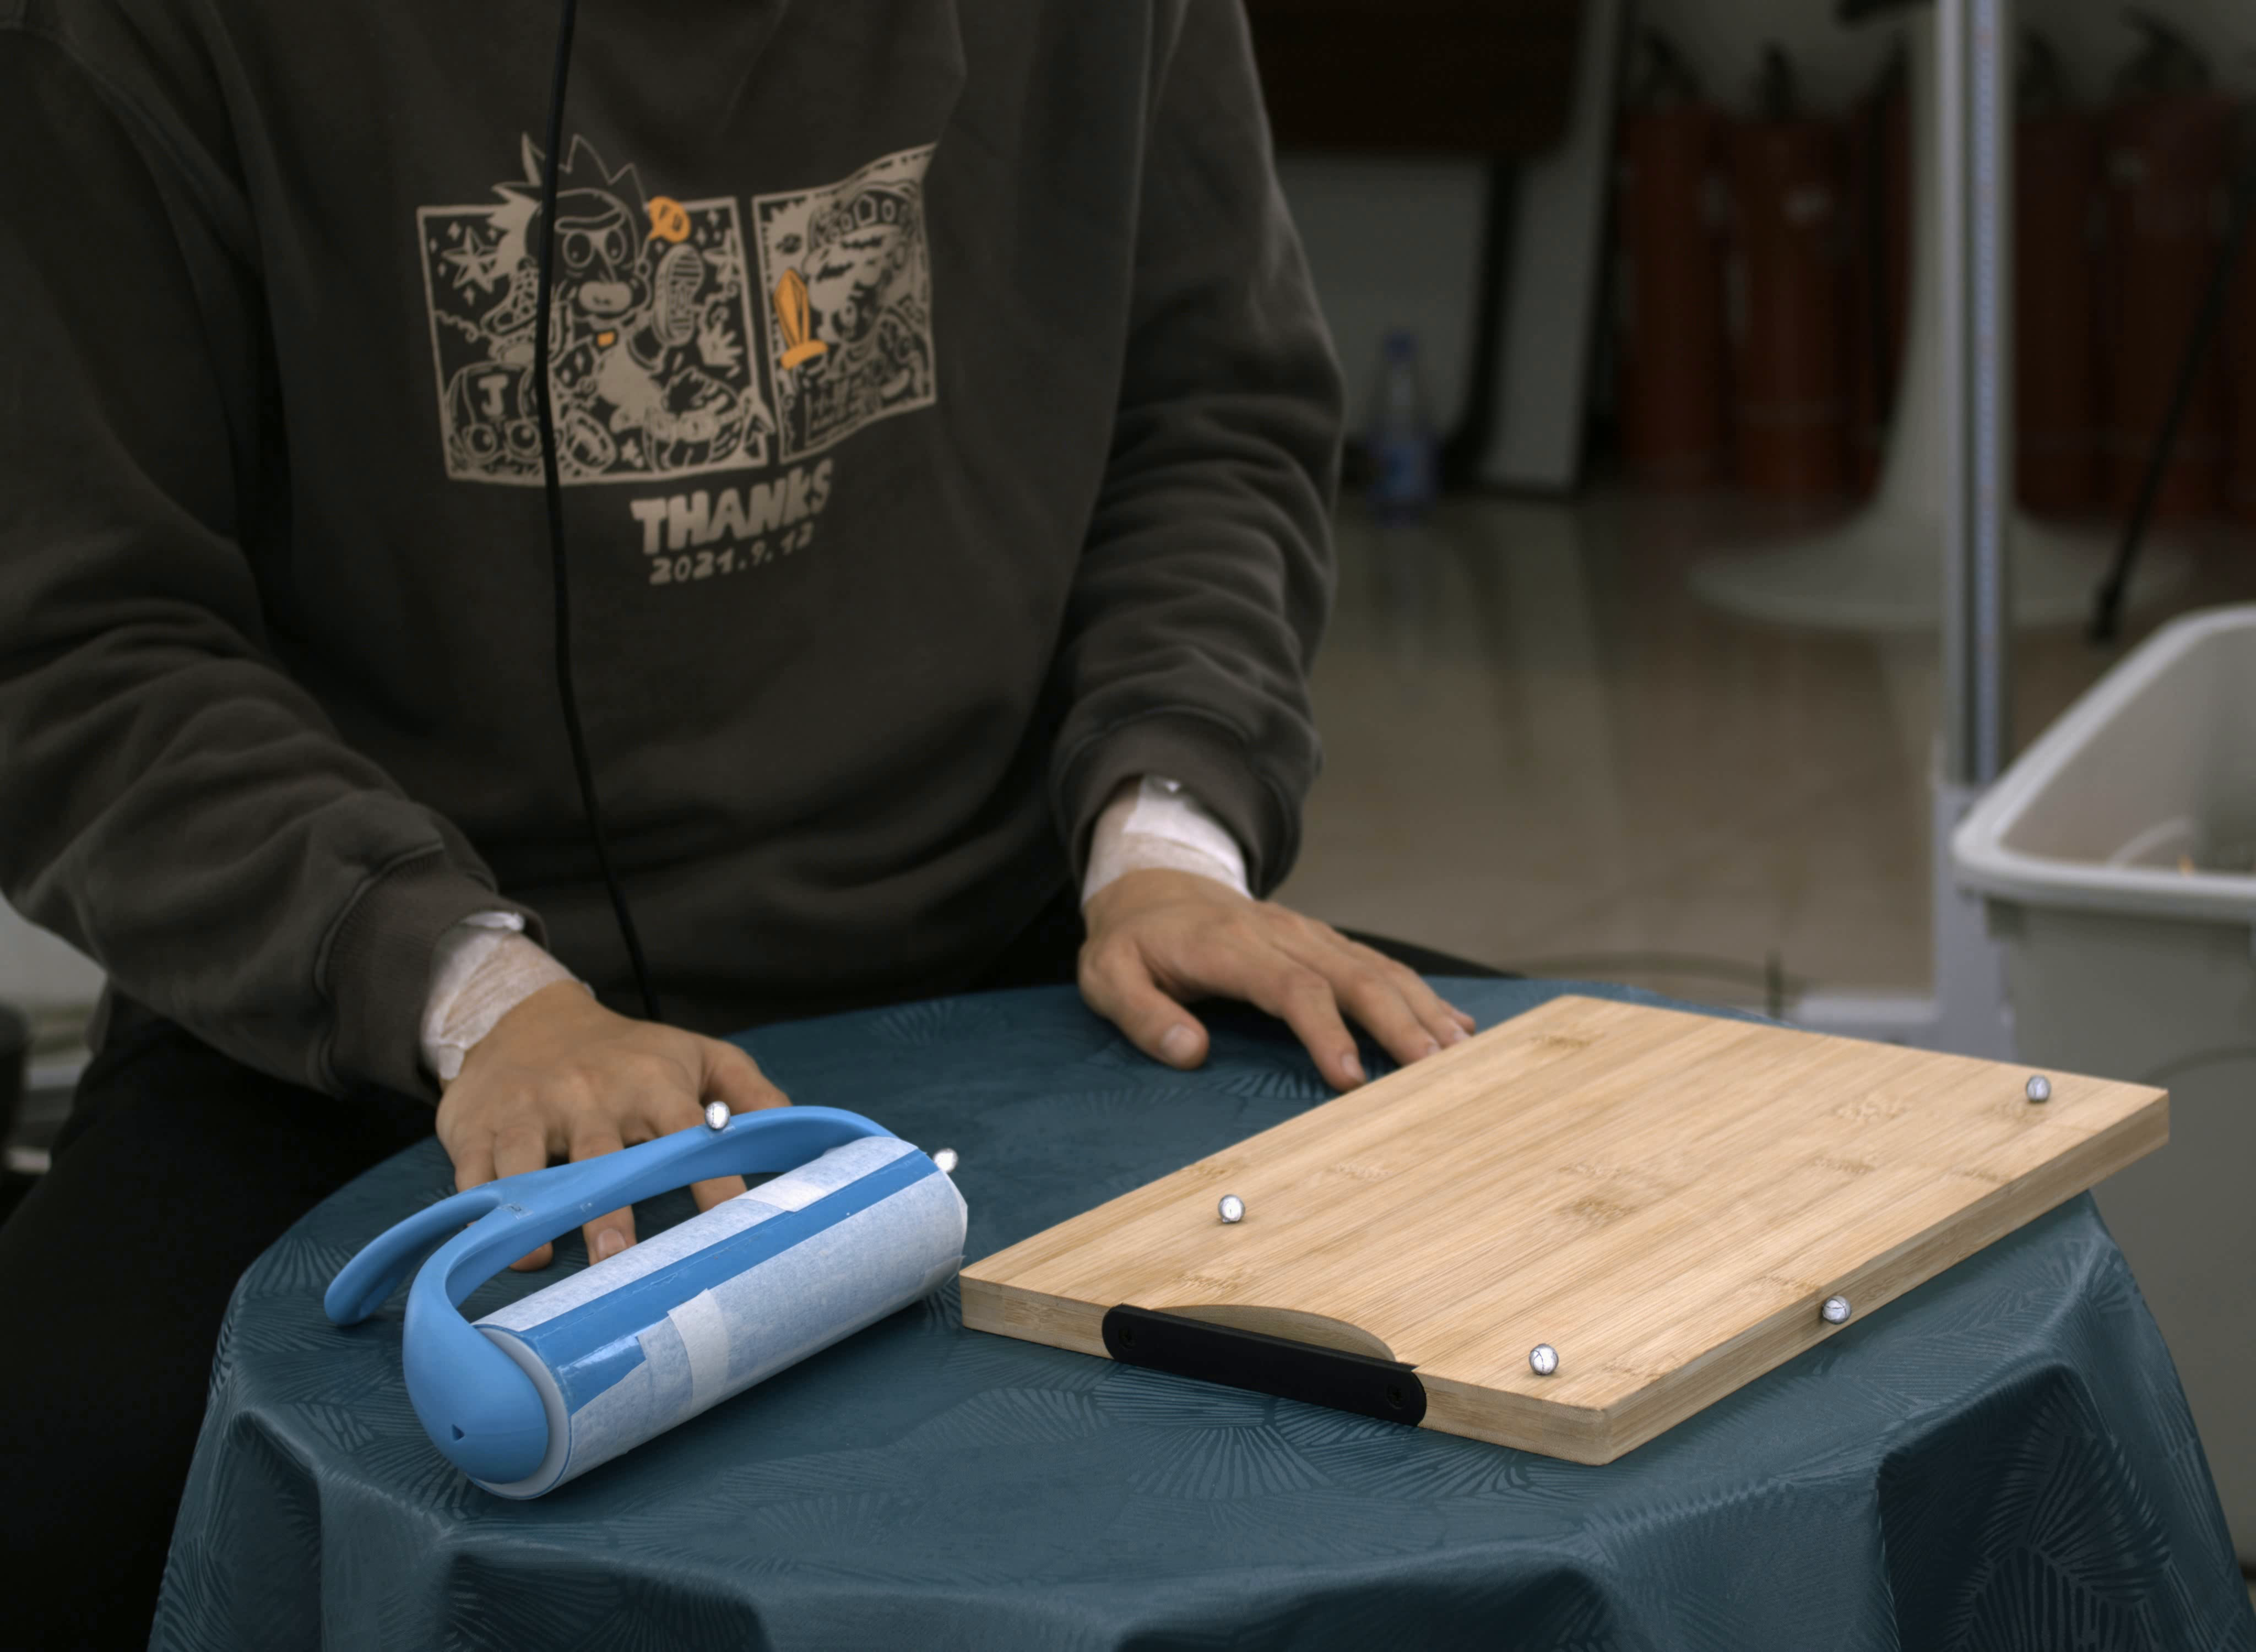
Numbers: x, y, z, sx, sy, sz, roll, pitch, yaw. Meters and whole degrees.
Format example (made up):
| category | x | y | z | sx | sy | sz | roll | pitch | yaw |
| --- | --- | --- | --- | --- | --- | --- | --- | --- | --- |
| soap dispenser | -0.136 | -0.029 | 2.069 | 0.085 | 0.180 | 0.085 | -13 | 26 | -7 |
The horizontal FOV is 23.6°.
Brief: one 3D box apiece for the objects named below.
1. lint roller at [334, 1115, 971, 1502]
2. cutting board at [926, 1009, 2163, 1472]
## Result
| category | x | y | z | sx | sy | sz | roll | pitch | yaw |
| --- | --- | --- | --- | --- | --- | --- | --- | --- | --- |
| lint roller | -0.171 | 0.139 | 1.633 | 0.181 | 0.068 | 0.225 | 5 | 17 | 31 |
| cutting board | 0.139 | 0.123 | 1.694 | 0.252 | 0.024 | 0.342 | 6 | 17 | 38 |
